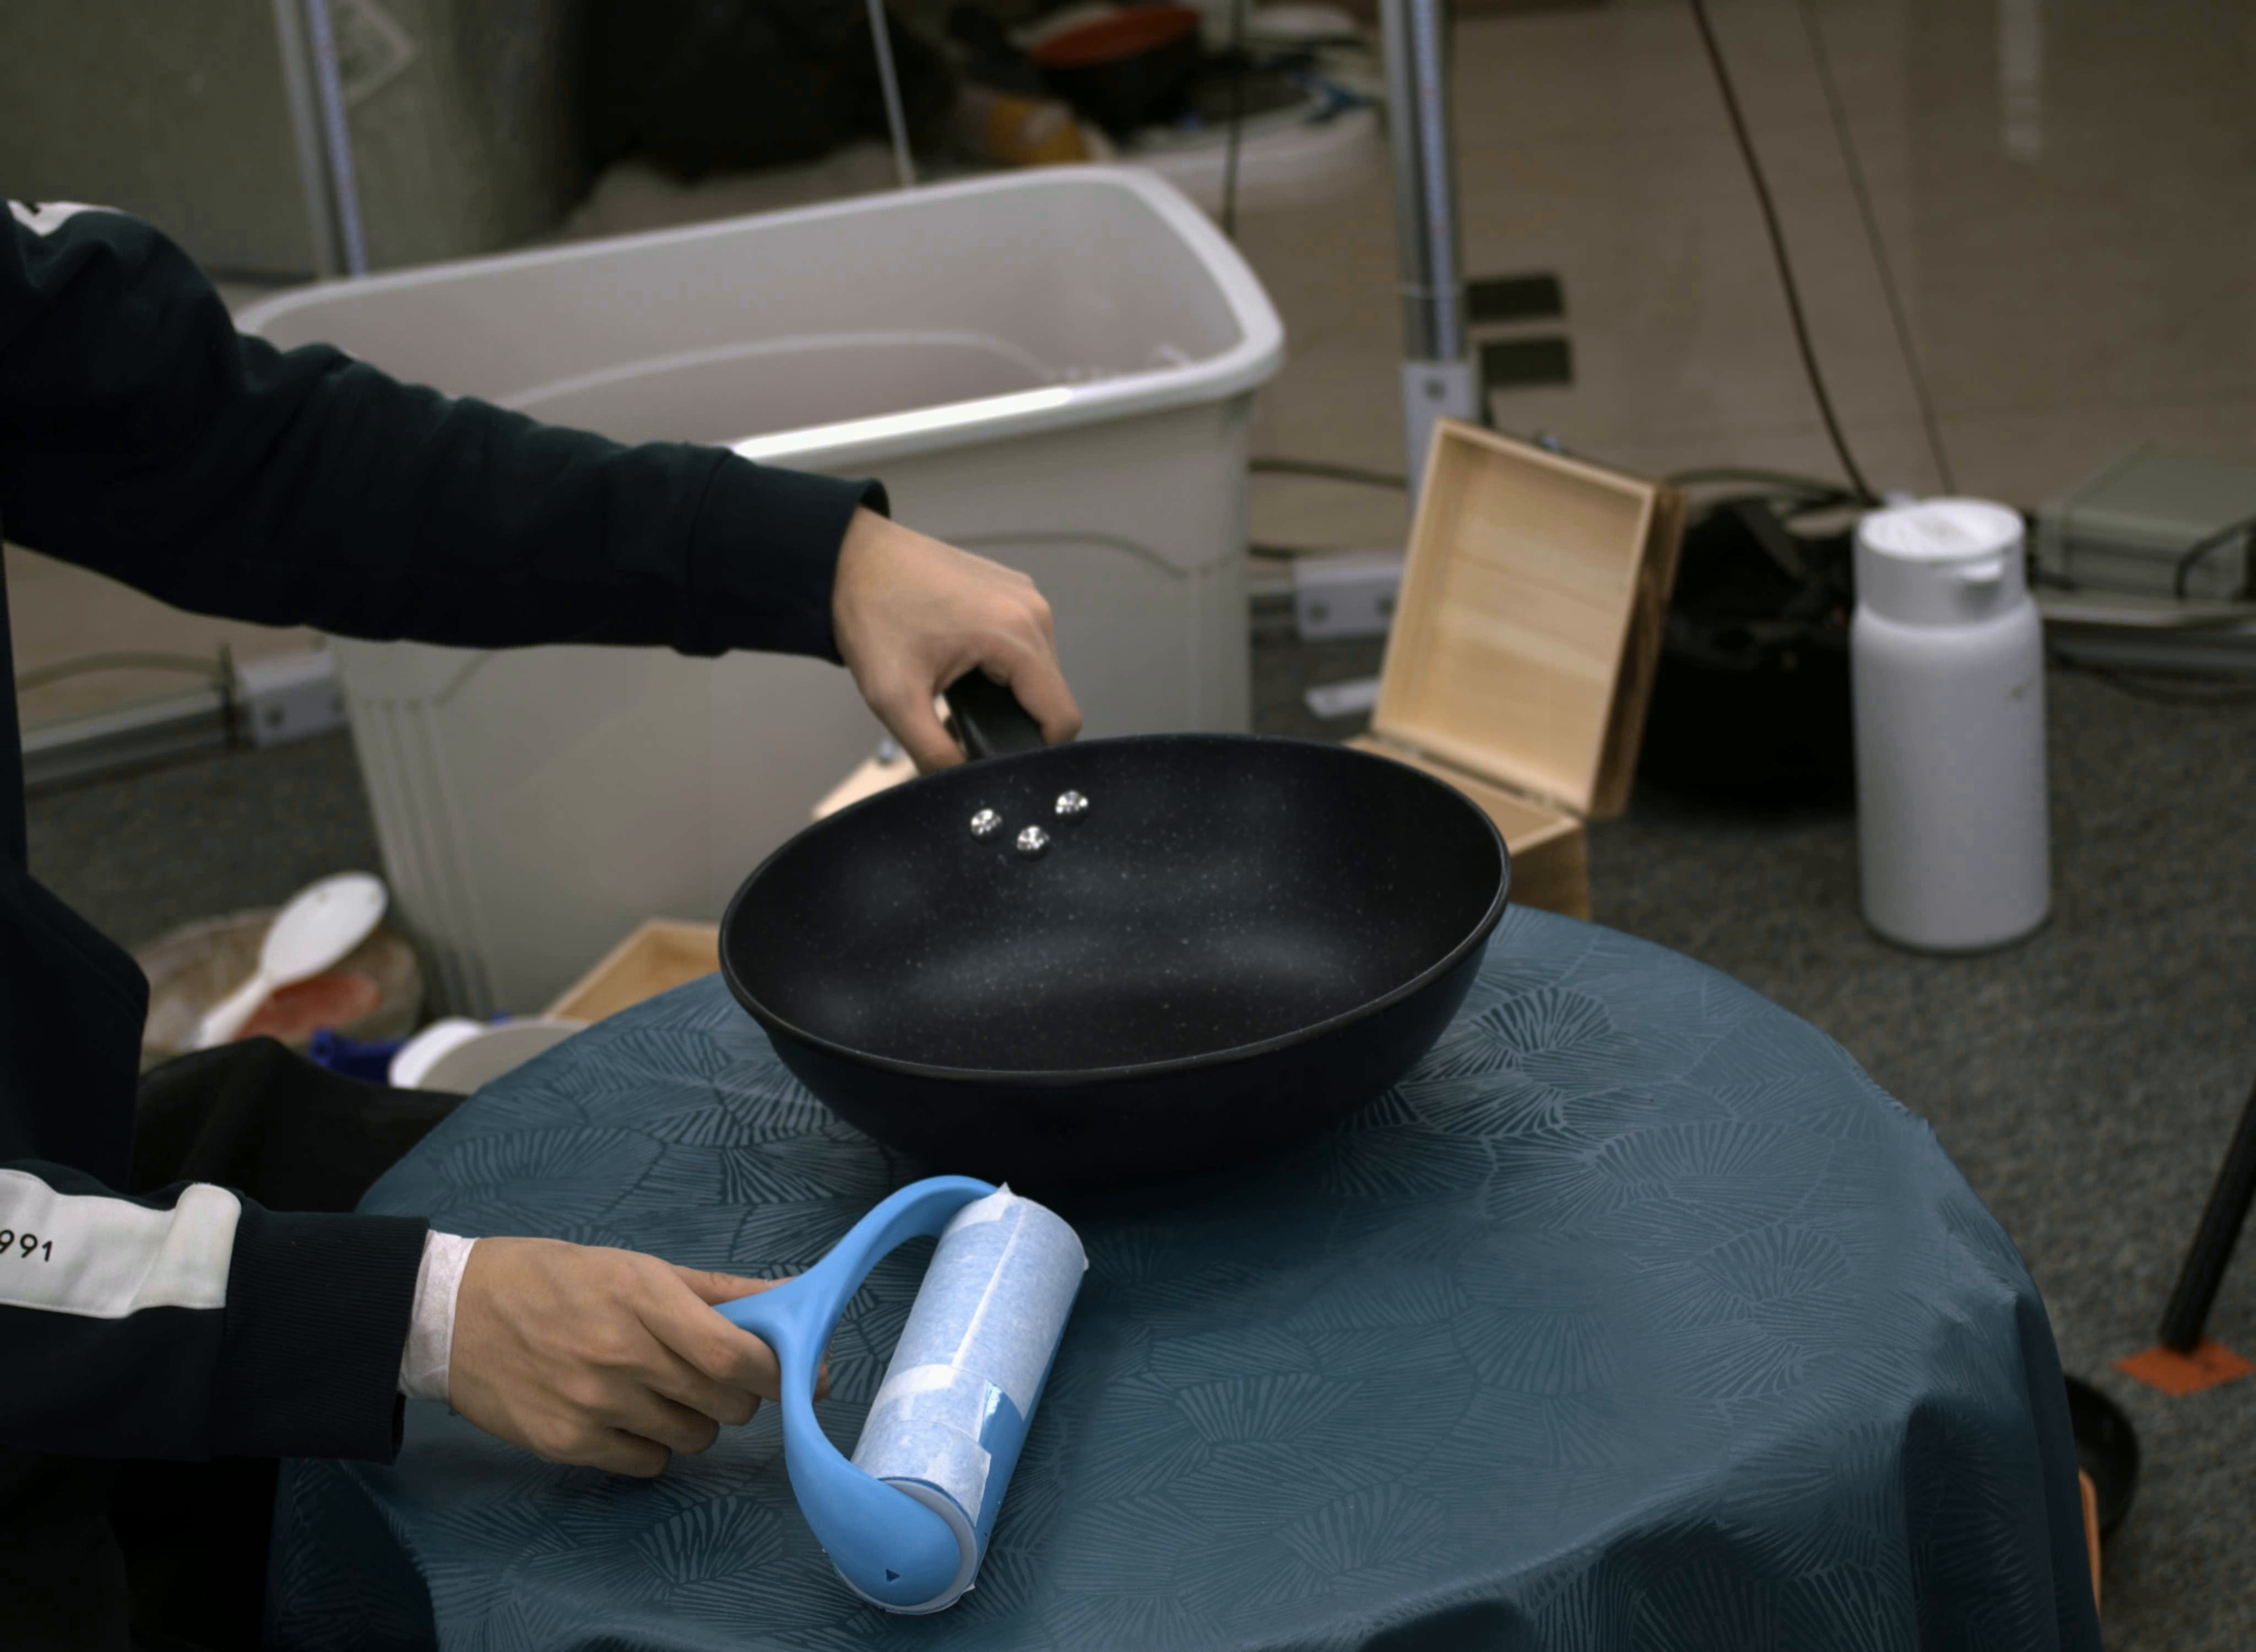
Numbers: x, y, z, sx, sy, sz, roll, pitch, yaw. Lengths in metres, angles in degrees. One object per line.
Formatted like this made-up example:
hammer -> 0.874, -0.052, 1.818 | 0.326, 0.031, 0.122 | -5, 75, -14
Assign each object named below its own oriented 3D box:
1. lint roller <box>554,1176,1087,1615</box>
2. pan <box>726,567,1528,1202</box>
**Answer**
lint roller -> -0.114, 0.195, 1.976 | 0.180, 0.069, 0.225 | 2, 28, 6
pan -> -0.022, 0.026, 2.263 | 0.309, 0.113, 0.470 | -11, 25, -13
